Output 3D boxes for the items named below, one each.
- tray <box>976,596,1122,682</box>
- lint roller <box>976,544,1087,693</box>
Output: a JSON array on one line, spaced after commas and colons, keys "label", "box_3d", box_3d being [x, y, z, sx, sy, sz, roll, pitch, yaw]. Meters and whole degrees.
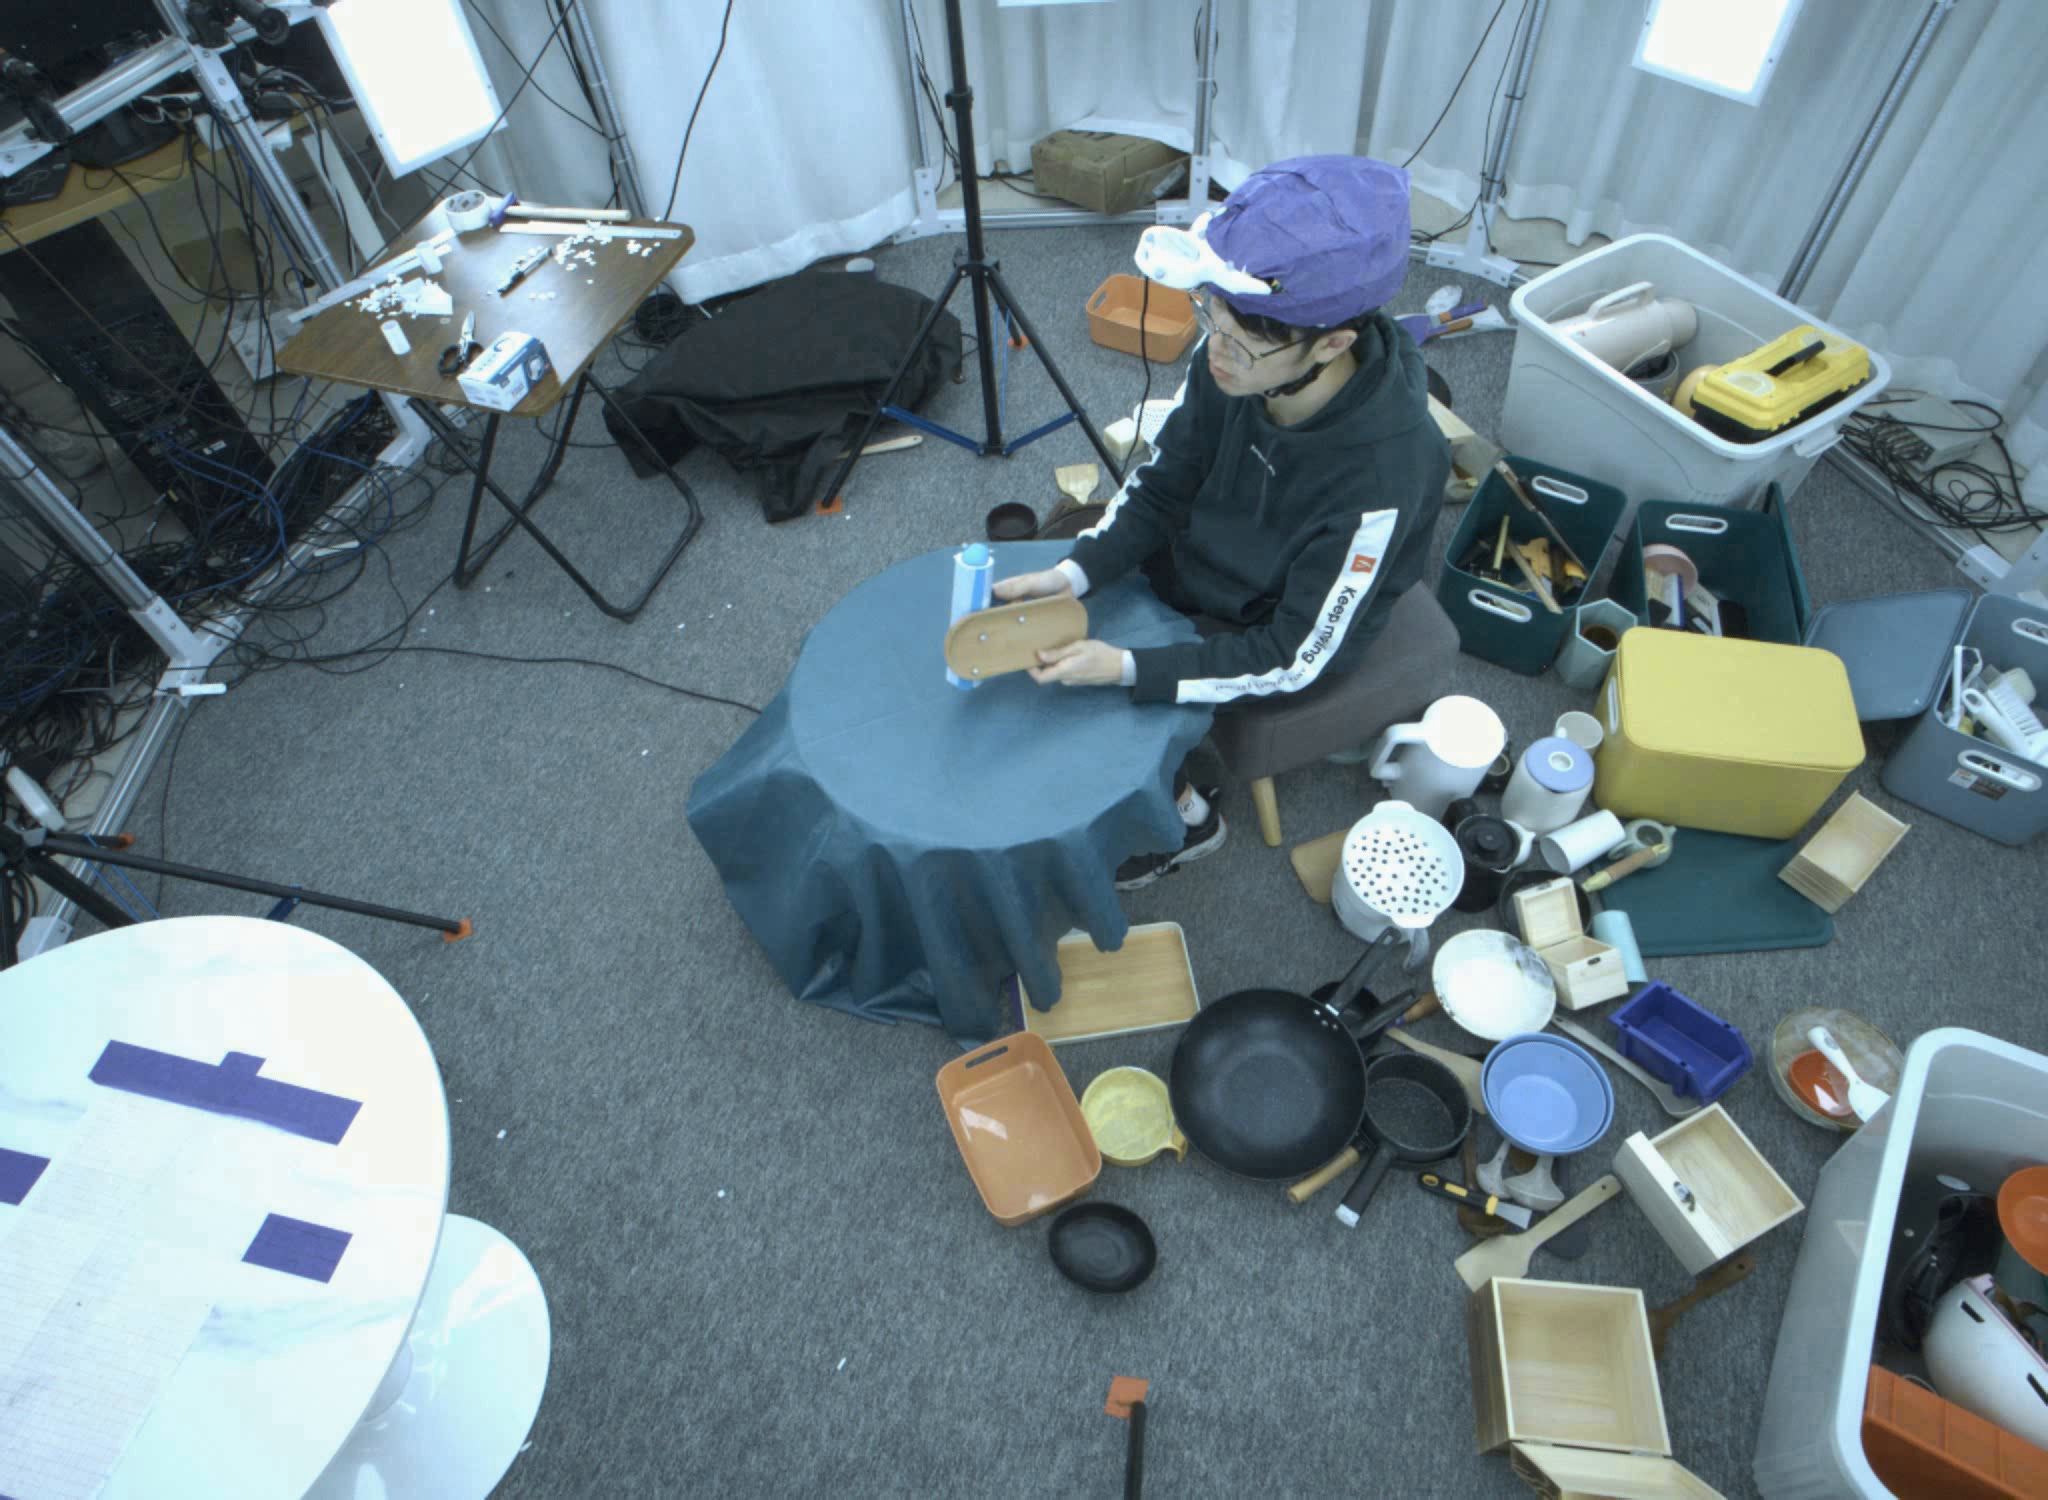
[{"label": "tray", "box_3d": [0.037, -0.159, 1.742, 0.234, 0.102, 0.020, -15, 34, -26]}, {"label": "lint roller", "box_3d": [0.014, -0.195, 1.768, 0.183, 0.230, 0.066, -17, 41, -35]}]
